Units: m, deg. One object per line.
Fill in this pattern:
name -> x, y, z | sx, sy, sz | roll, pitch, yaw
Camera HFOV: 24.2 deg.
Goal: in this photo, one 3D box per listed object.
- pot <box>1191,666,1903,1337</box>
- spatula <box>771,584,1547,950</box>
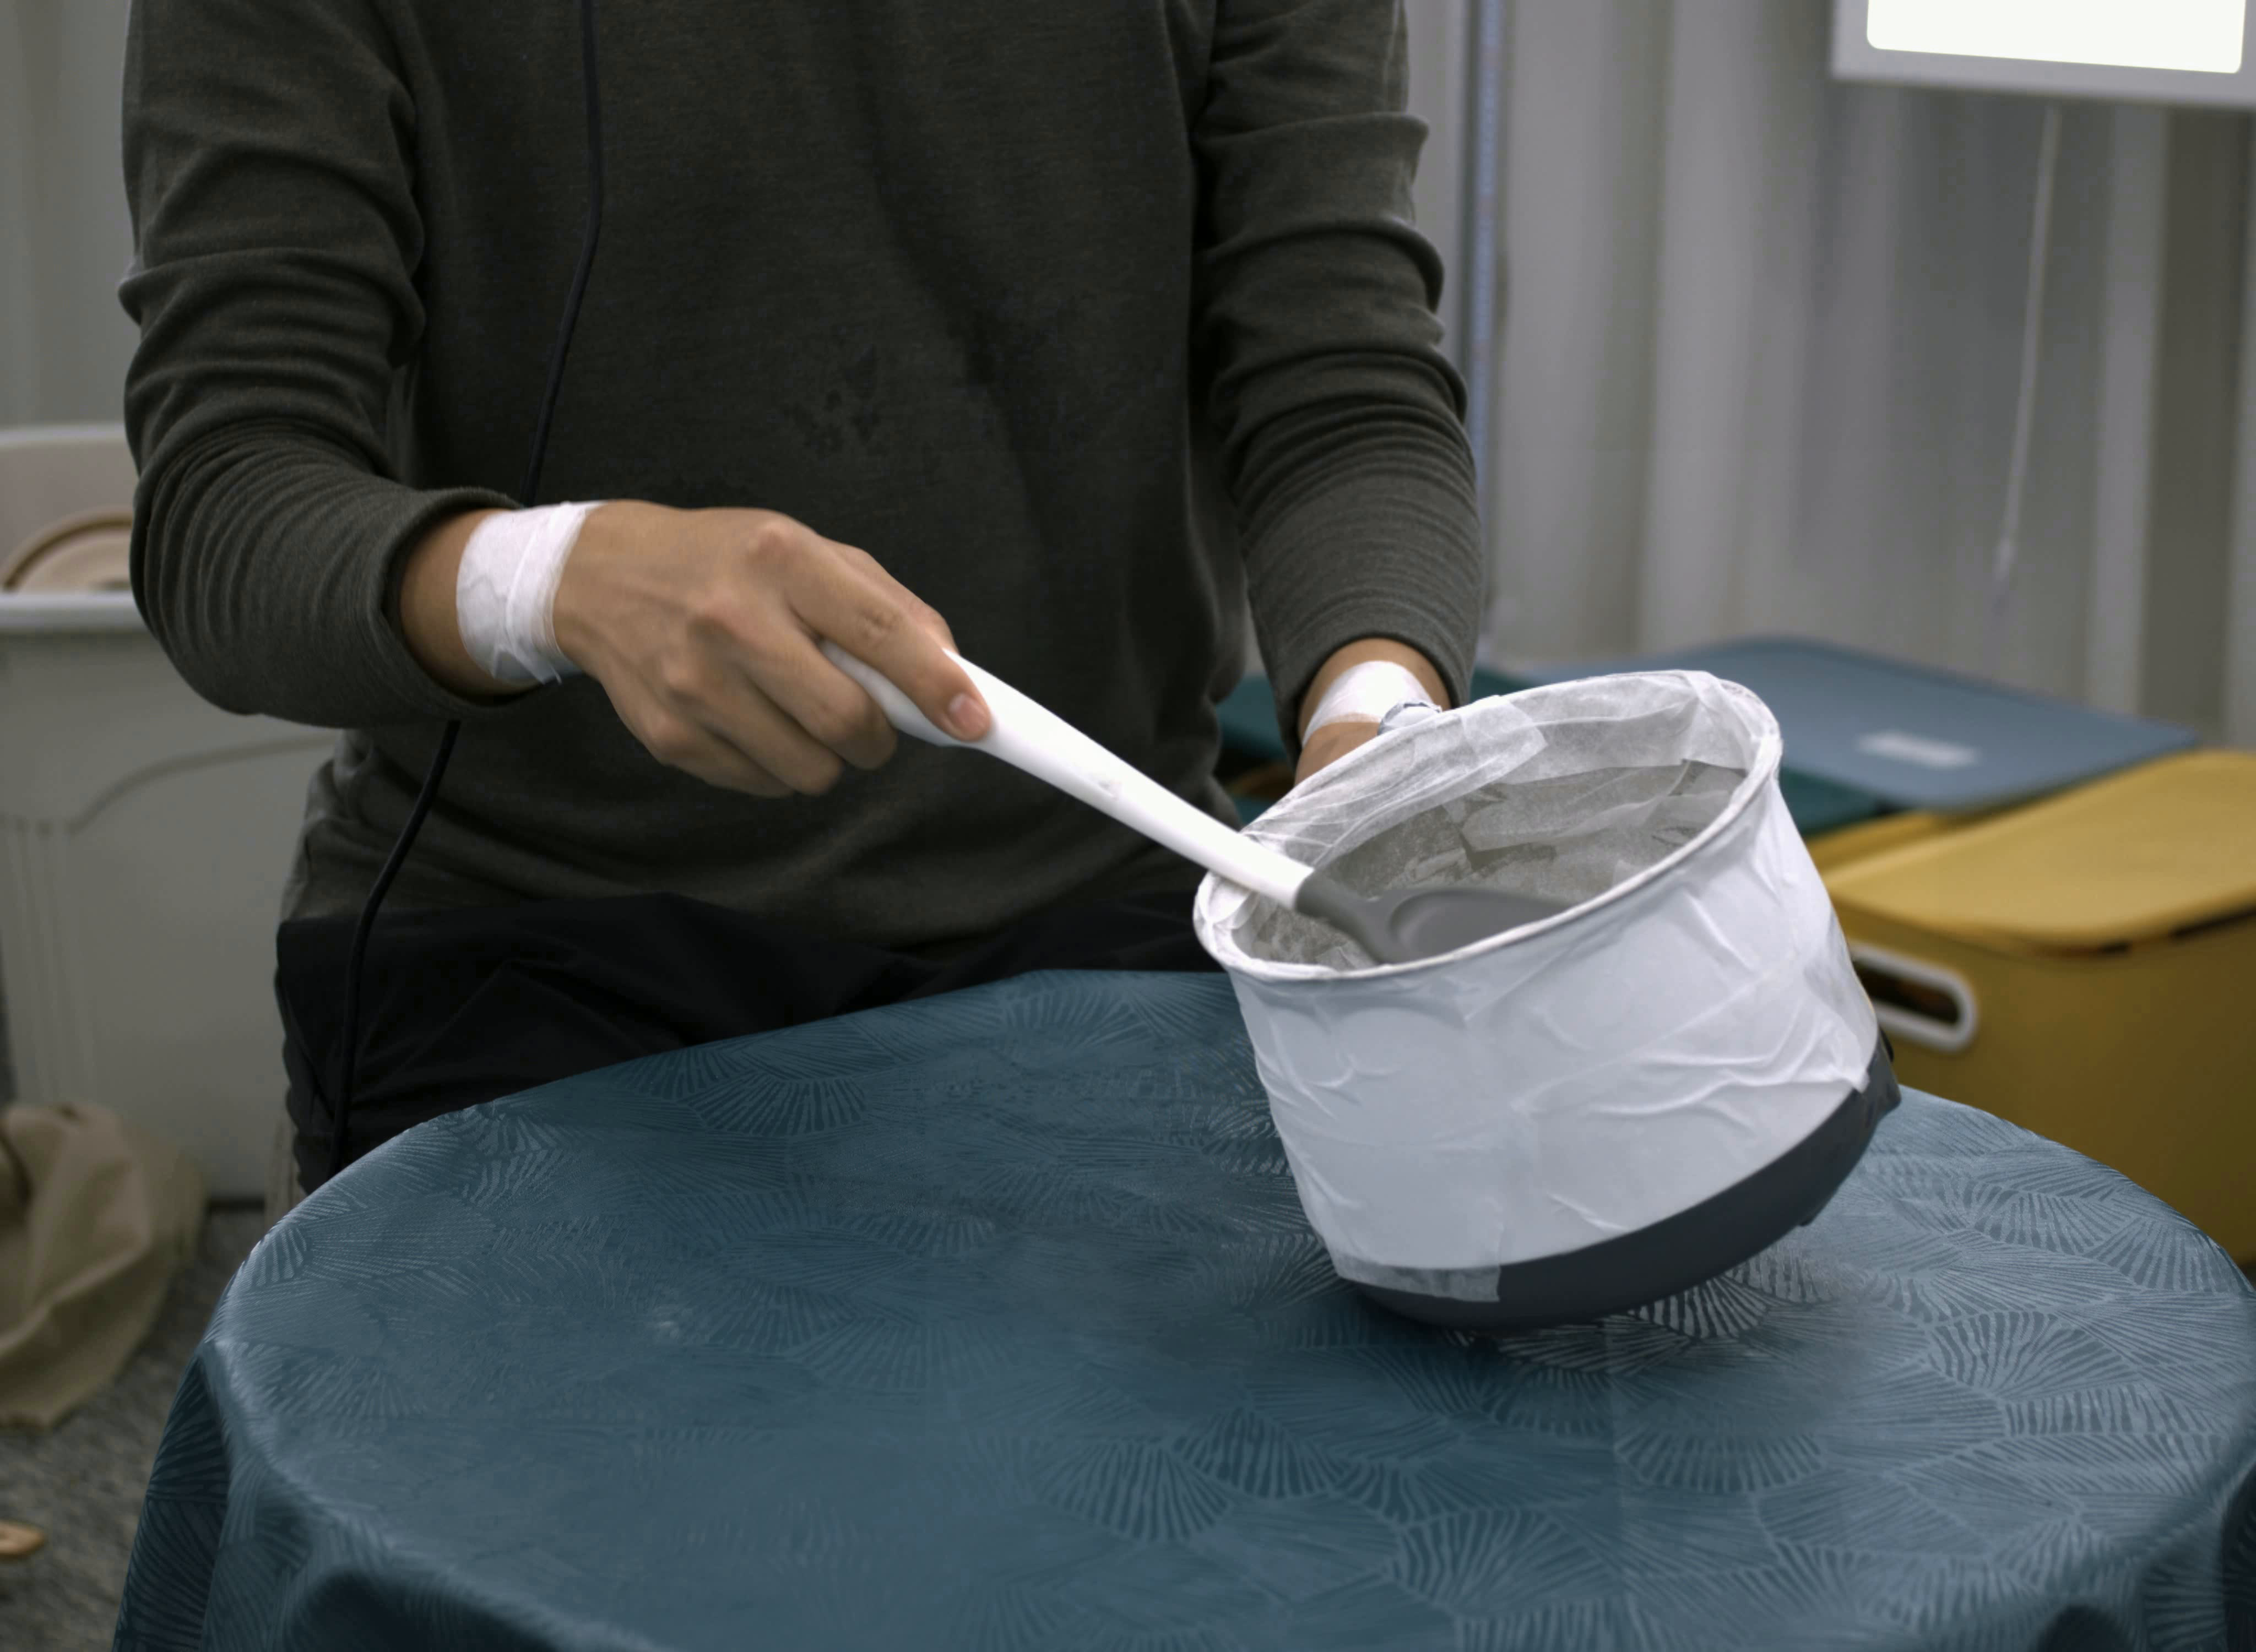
pot -> 0.117, 0.043, 1.548 | 0.178, 0.138, 0.231 | -23, 21, -3
spatula -> 0.020, -0.004, 1.532 | 0.284, 0.032, 0.059 | 25, 37, 23
